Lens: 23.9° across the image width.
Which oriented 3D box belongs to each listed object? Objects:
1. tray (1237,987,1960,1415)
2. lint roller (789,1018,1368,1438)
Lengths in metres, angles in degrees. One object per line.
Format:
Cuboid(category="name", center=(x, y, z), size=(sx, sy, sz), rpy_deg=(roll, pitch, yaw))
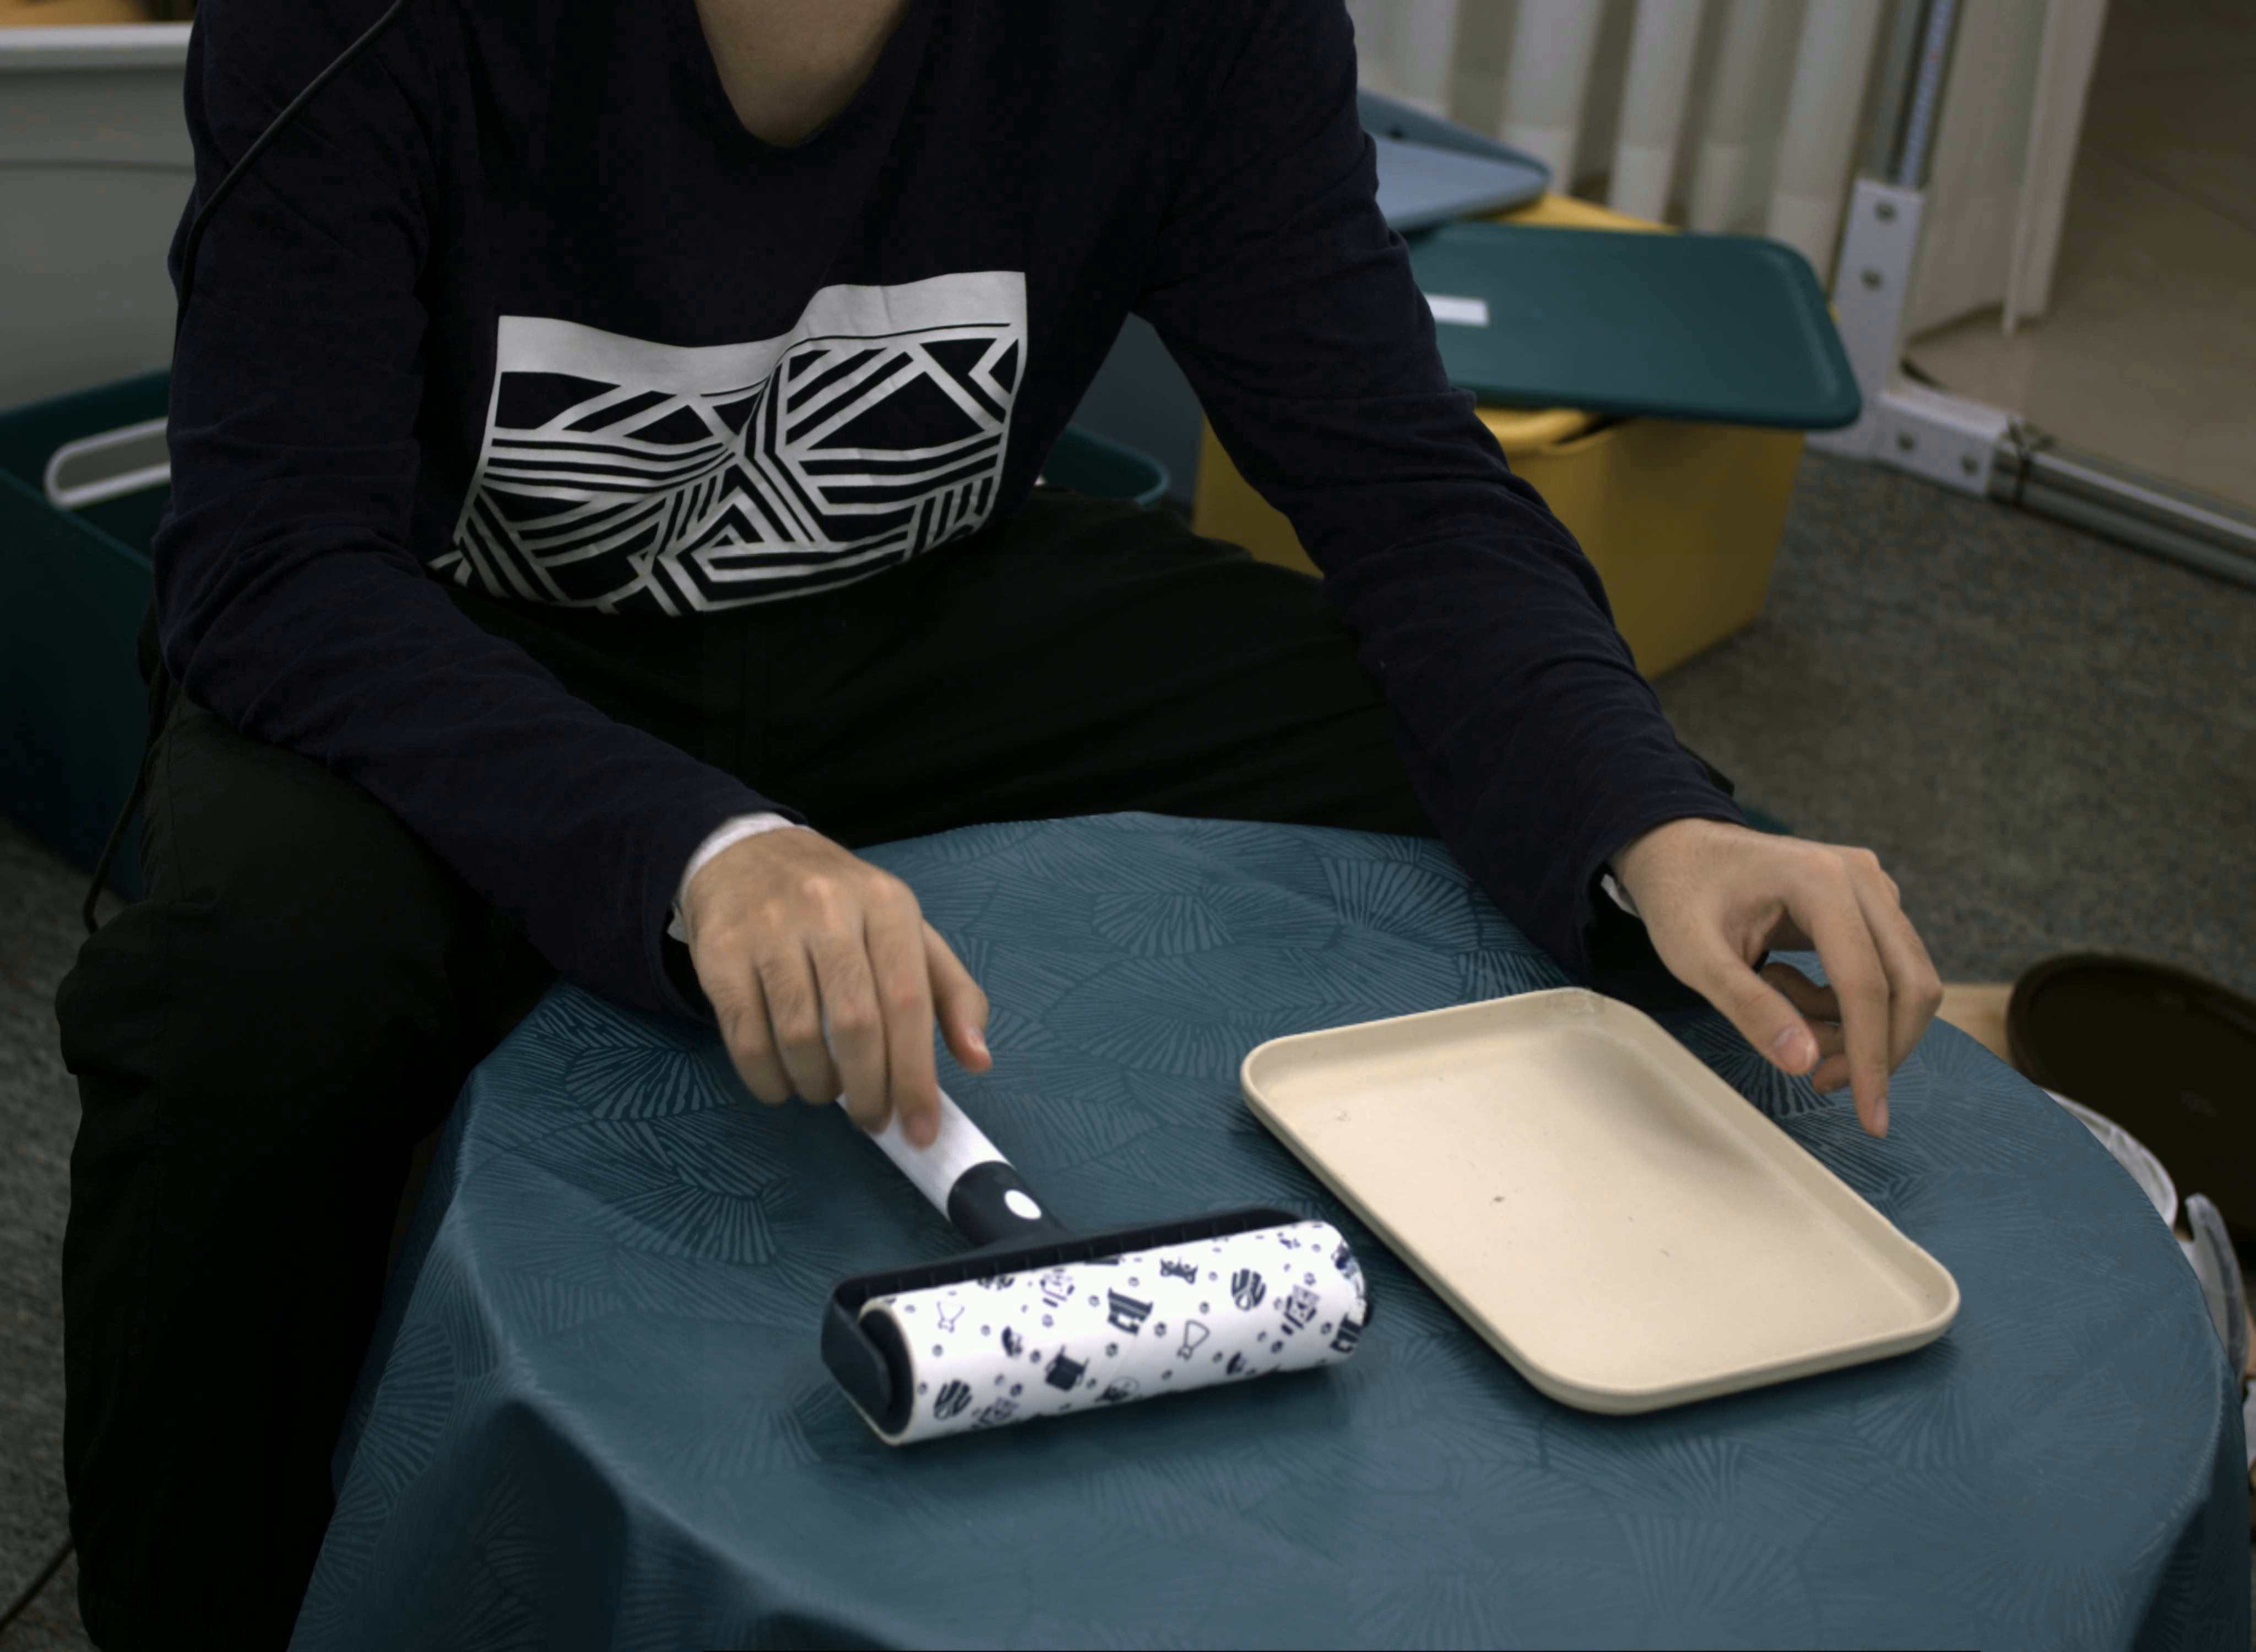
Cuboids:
Cuboid(category="tray", center=(0.157, 0.126, 1.816), size=(0.170, 0.017, 0.242), rpy_deg=(-9, 31, -27))
Cuboid(category="lint roller", center=(-0.055, 0.117, 1.761), size=(0.175, 0.050, 0.249), rpy_deg=(-9, 28, -27))
